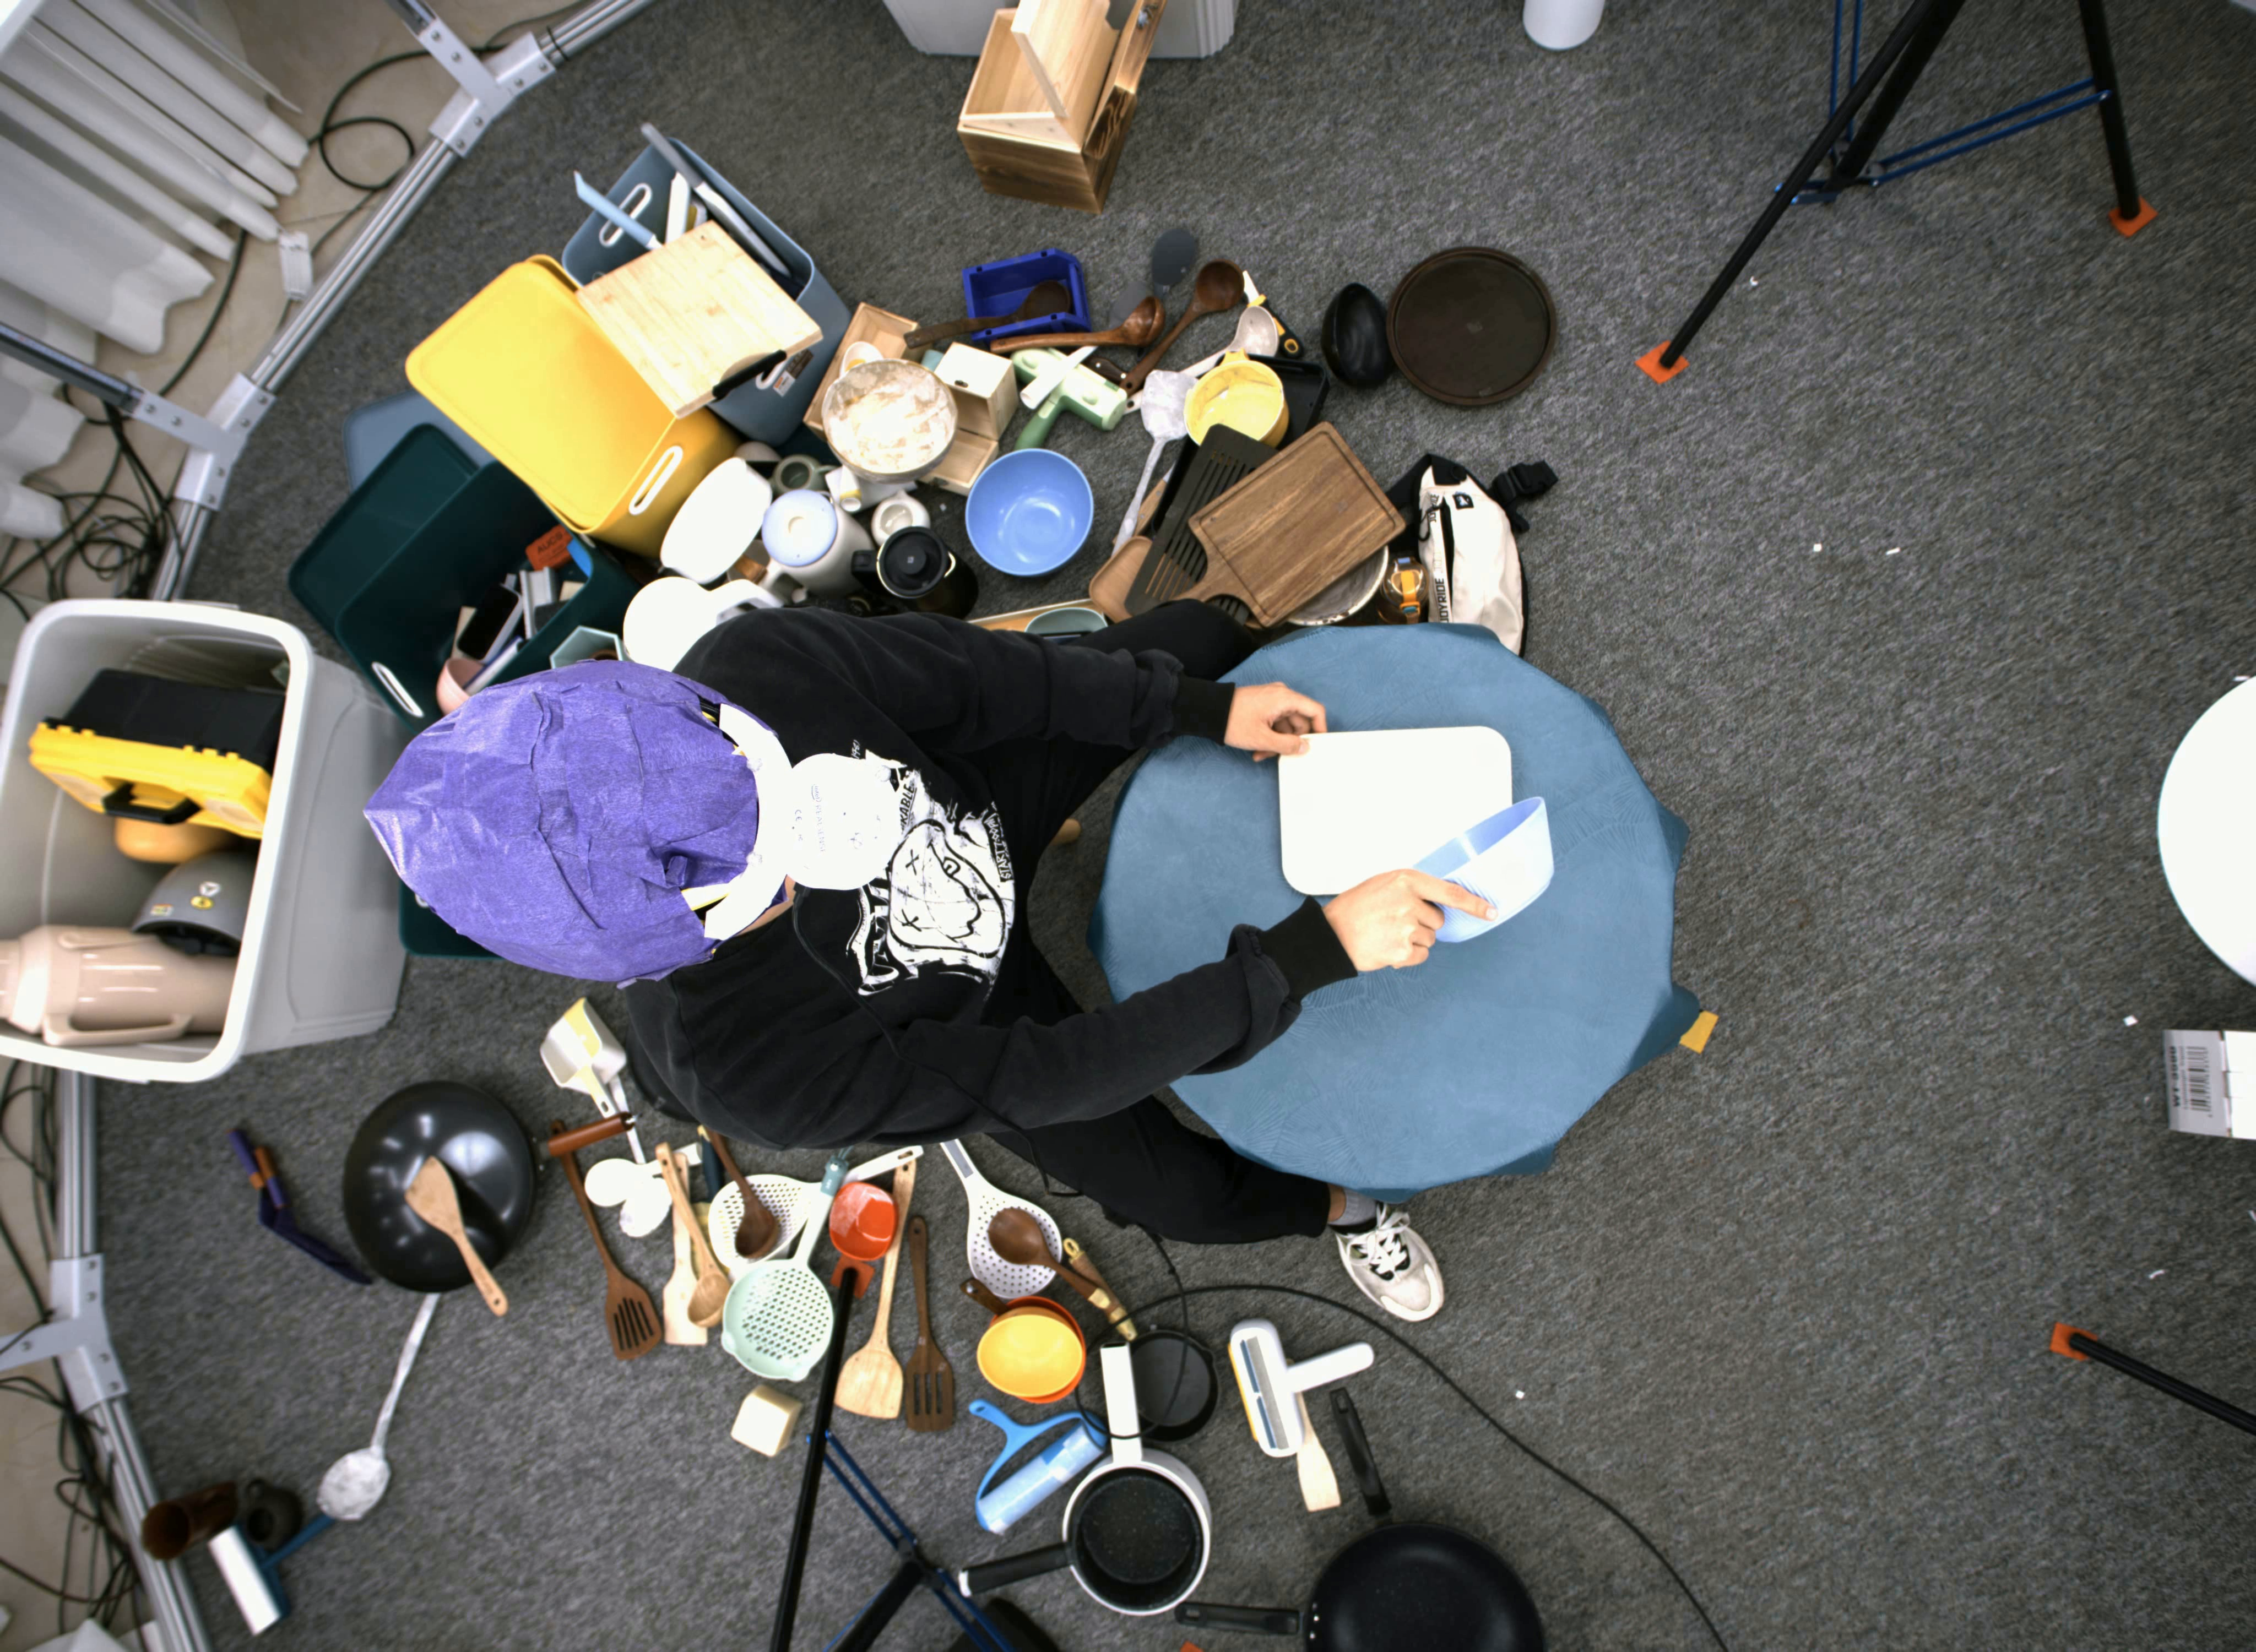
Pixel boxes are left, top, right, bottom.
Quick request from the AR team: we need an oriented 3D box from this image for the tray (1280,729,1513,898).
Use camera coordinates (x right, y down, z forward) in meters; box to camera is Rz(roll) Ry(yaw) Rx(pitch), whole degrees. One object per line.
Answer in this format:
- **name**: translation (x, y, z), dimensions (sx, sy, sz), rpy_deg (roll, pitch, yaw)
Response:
- **tray**: translation (0.282, -0.014, 1.447), dimensions (0.240, 0.017, 0.172), rpy_deg (-2, 95, 10)

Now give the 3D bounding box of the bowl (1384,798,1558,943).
- **bowl**: translation (0.326, 0.047, 1.264), dimensions (0.177, 0.175, 0.070), rpy_deg (-34, 91, 5)
